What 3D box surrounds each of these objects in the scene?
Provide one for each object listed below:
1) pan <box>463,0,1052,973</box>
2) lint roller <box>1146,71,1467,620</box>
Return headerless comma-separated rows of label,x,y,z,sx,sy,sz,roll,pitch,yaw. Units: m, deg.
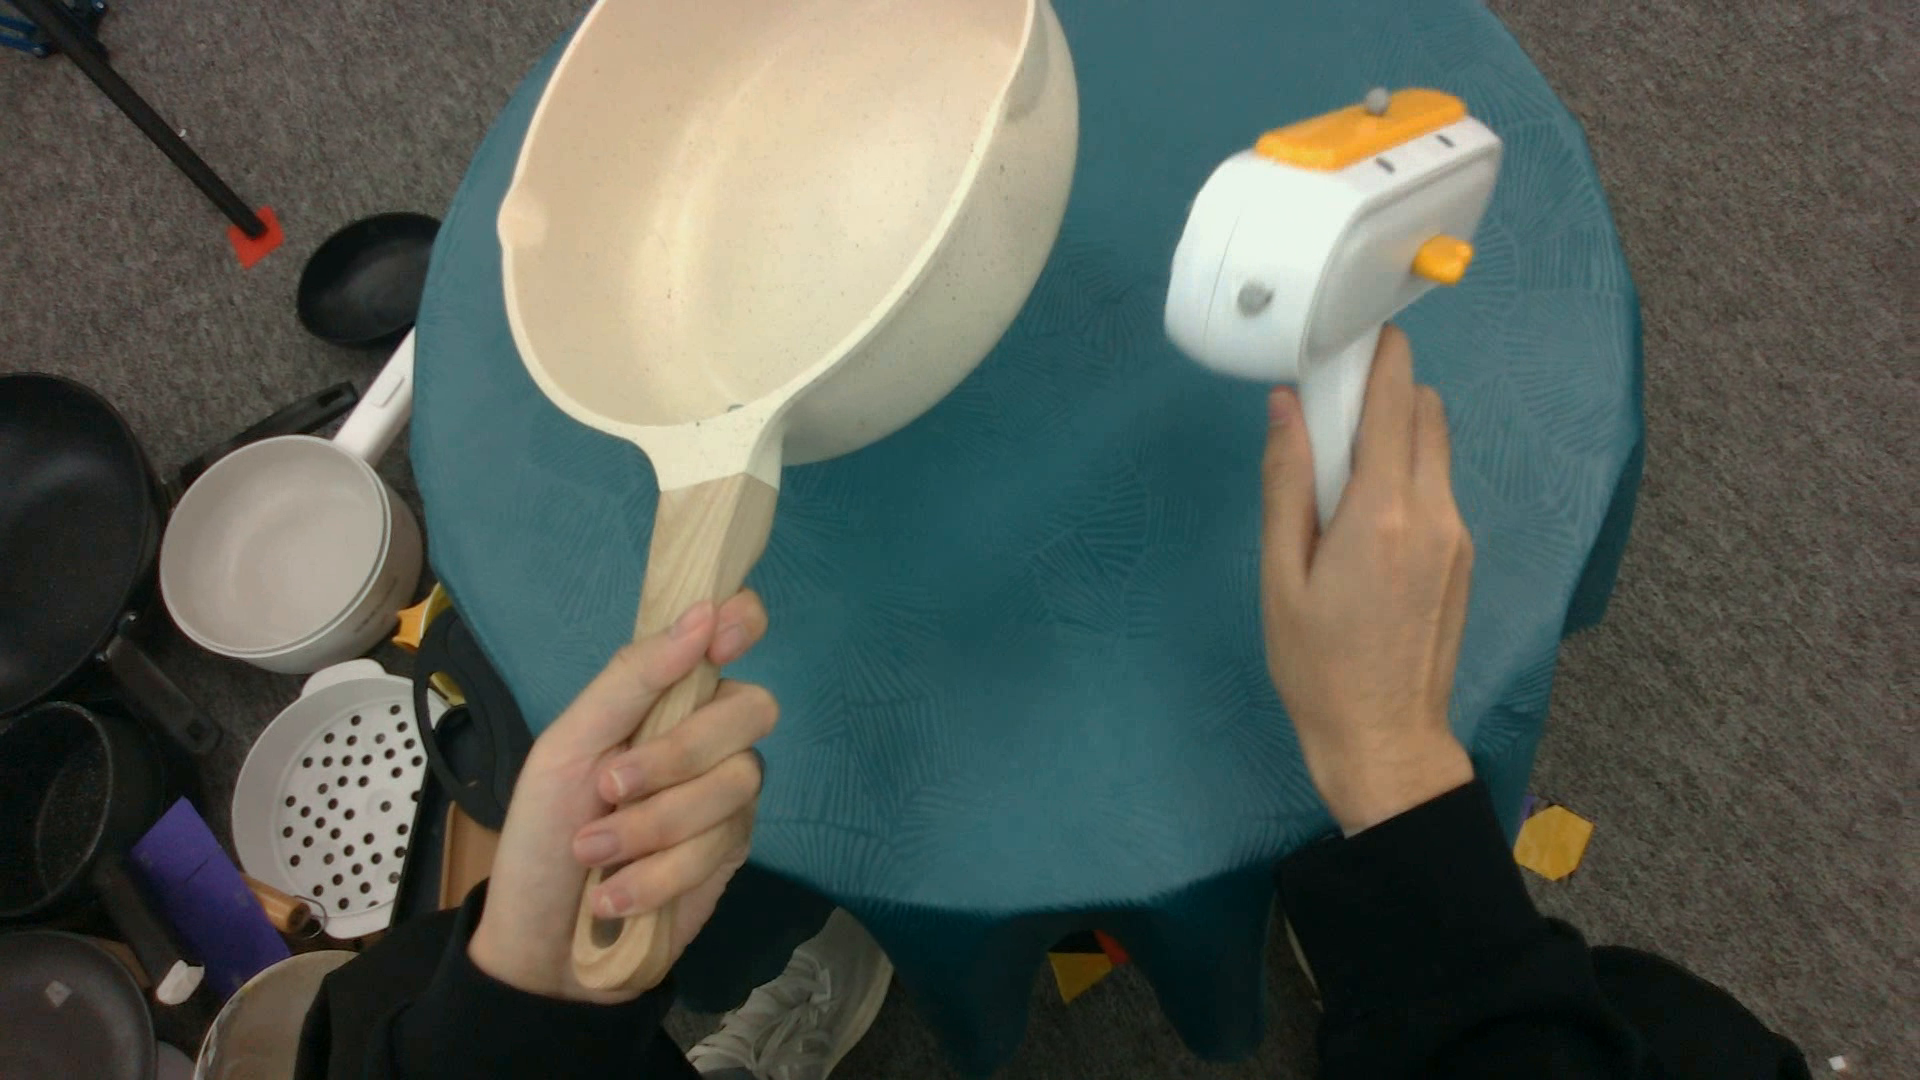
pan,-0.079,-0.065,0.515,0.262,0.102,0.436,-10,68,27
lint roller,0.132,-0.060,0.505,0.074,0.191,0.194,15,34,25
